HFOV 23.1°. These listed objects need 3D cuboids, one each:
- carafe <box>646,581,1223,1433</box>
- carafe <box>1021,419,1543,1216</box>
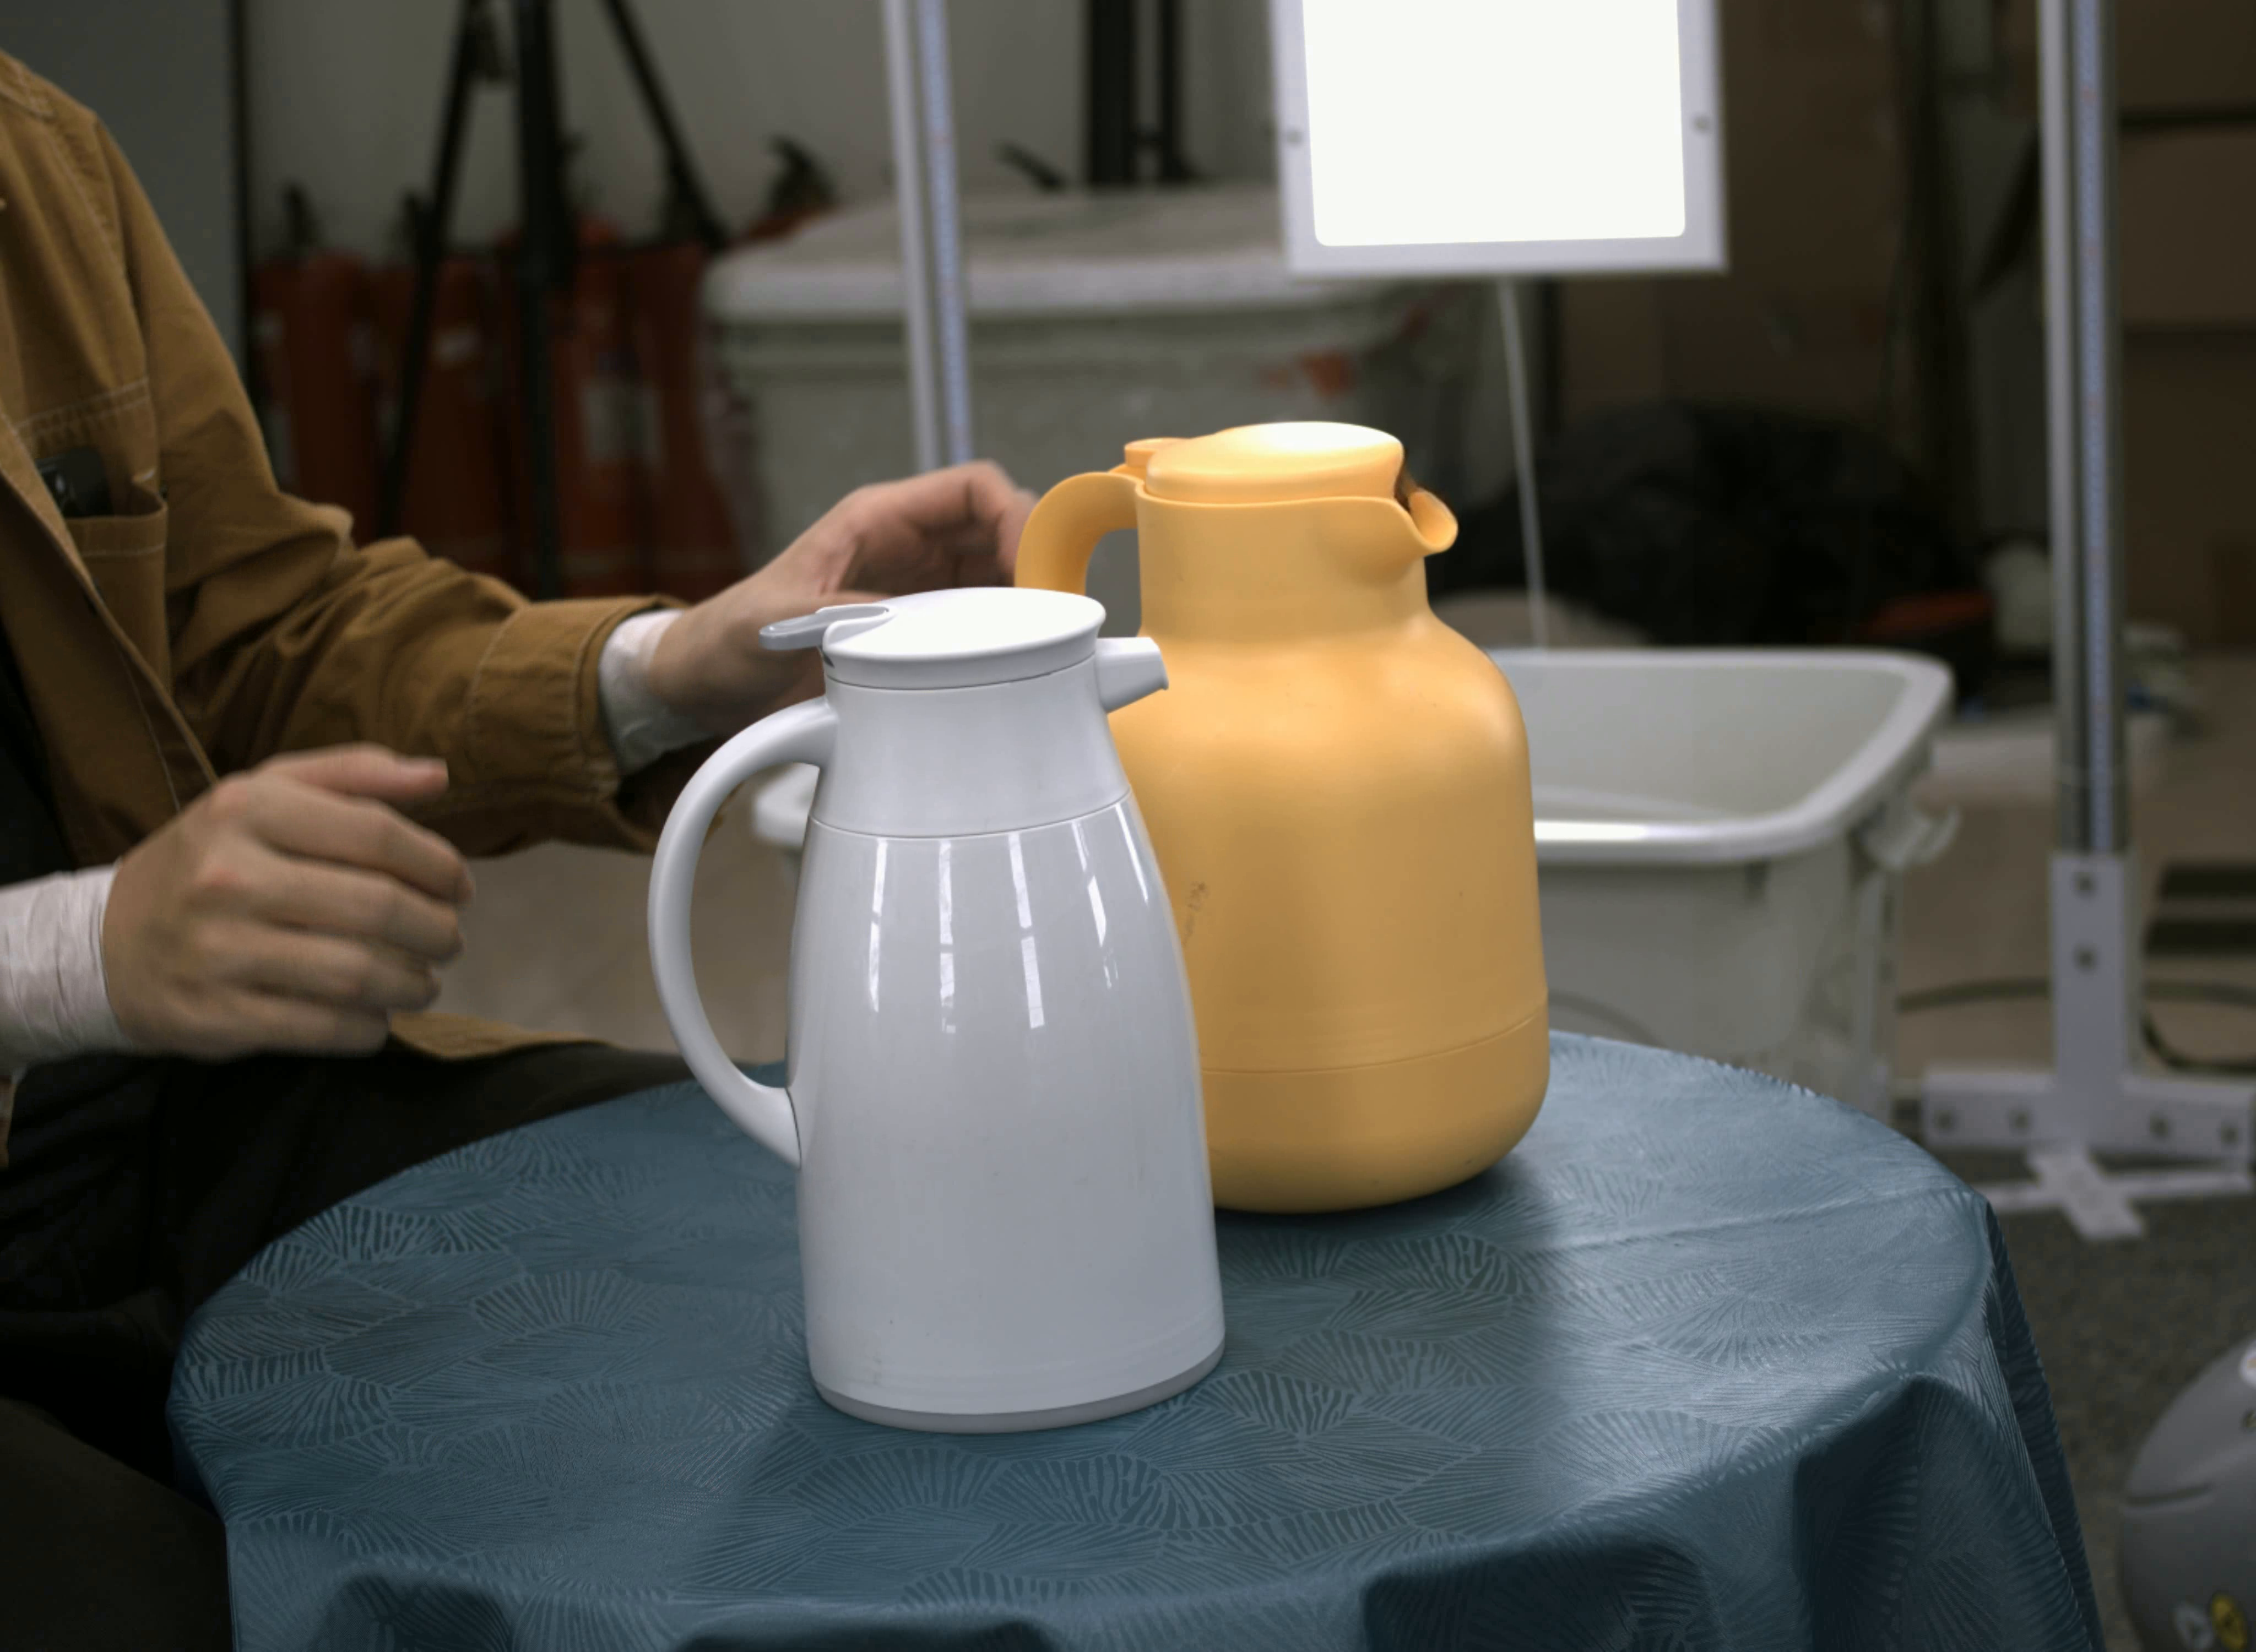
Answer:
[{"bbox_3d":[-0.063,0.052,1.705,0.166,0.249,0.133,-7,14,-7],"label":"carafe"},{"bbox_3d":[0.045,-0.010,1.892,0.159,0.261,0.207,-14,18,-40],"label":"carafe"}]
